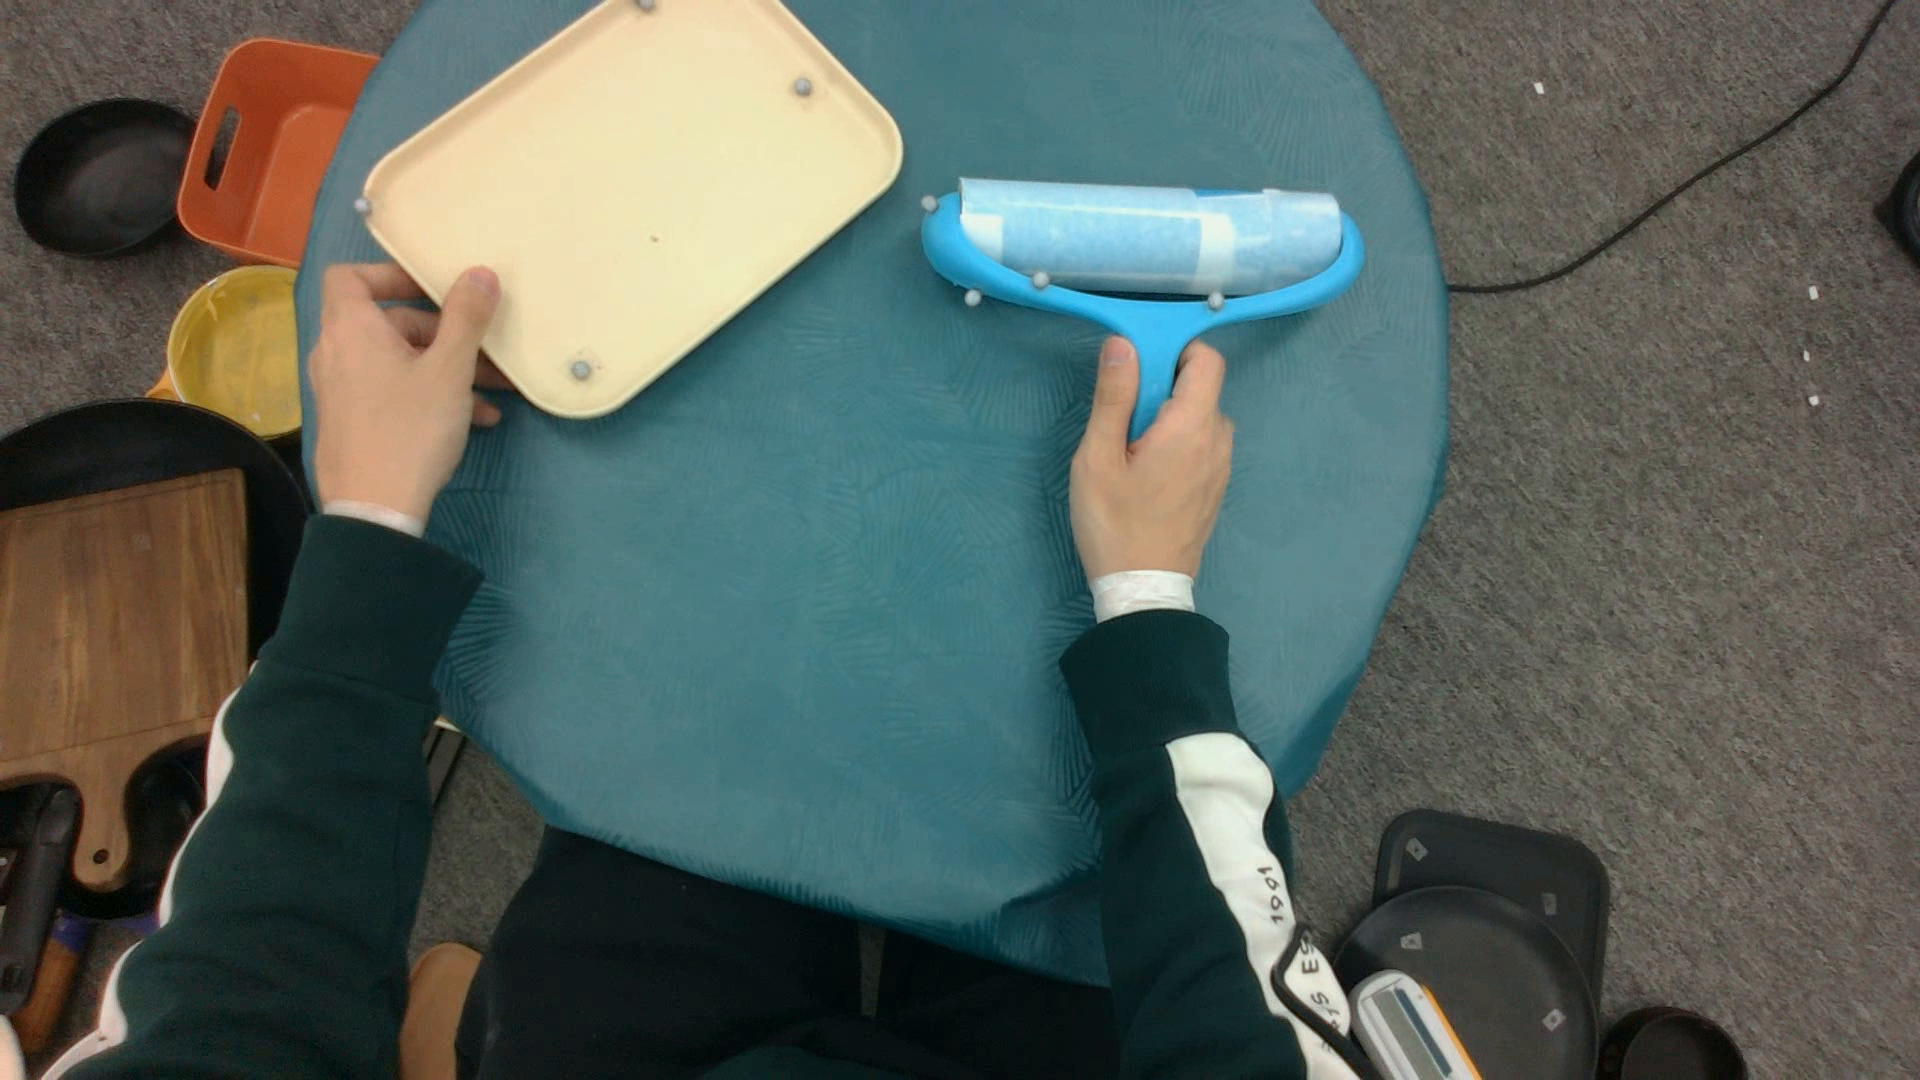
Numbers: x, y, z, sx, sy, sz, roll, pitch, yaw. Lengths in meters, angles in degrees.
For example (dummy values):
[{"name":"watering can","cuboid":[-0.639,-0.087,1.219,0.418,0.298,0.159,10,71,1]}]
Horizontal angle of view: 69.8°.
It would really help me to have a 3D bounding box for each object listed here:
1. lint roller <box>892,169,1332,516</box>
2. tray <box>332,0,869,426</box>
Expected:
[{"name":"lint roller","cuboid":[0.084,-0.107,0.702,0.229,0.068,0.180,-3,79,-8]},{"name":"tray","cuboid":[-0.177,-0.181,0.700,0.171,0.017,0.240,44,74,3]}]
